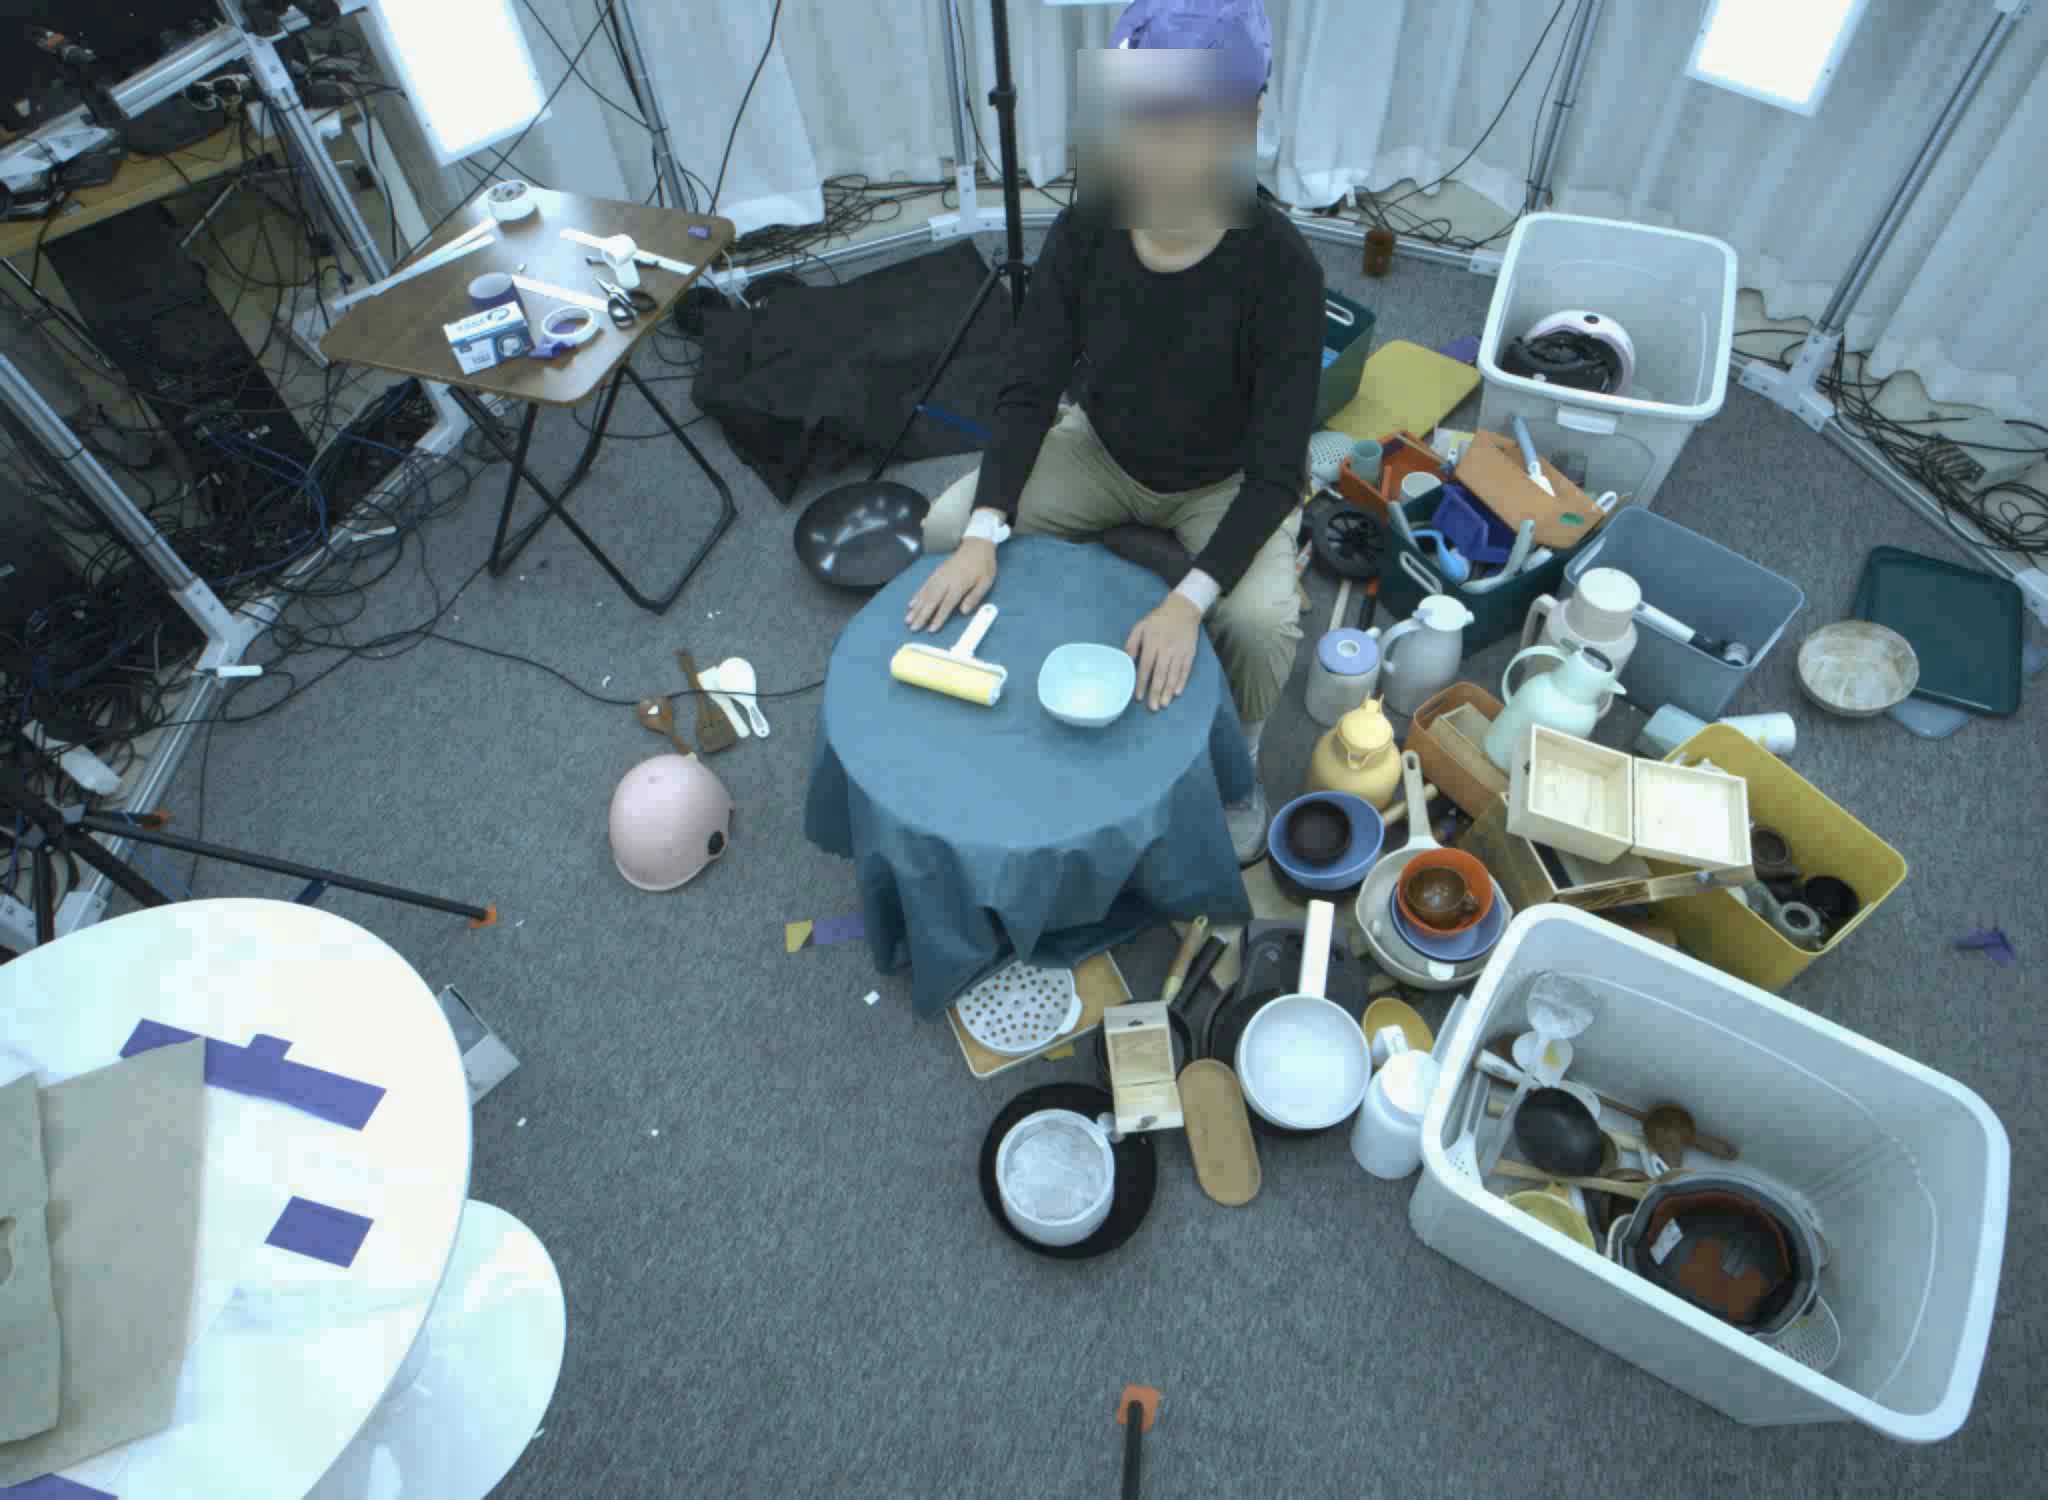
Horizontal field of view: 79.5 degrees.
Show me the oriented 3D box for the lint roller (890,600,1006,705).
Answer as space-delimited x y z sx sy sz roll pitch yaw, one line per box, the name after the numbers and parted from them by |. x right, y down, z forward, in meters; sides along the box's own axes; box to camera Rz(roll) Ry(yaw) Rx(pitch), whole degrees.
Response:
-0.094 -0.167 1.876 0.172 0.052 0.191 15 61 12 | lint roller

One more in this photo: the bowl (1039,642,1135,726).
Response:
0.093 -0.087 1.811 0.151 0.059 0.150 -1 56 3 | bowl
